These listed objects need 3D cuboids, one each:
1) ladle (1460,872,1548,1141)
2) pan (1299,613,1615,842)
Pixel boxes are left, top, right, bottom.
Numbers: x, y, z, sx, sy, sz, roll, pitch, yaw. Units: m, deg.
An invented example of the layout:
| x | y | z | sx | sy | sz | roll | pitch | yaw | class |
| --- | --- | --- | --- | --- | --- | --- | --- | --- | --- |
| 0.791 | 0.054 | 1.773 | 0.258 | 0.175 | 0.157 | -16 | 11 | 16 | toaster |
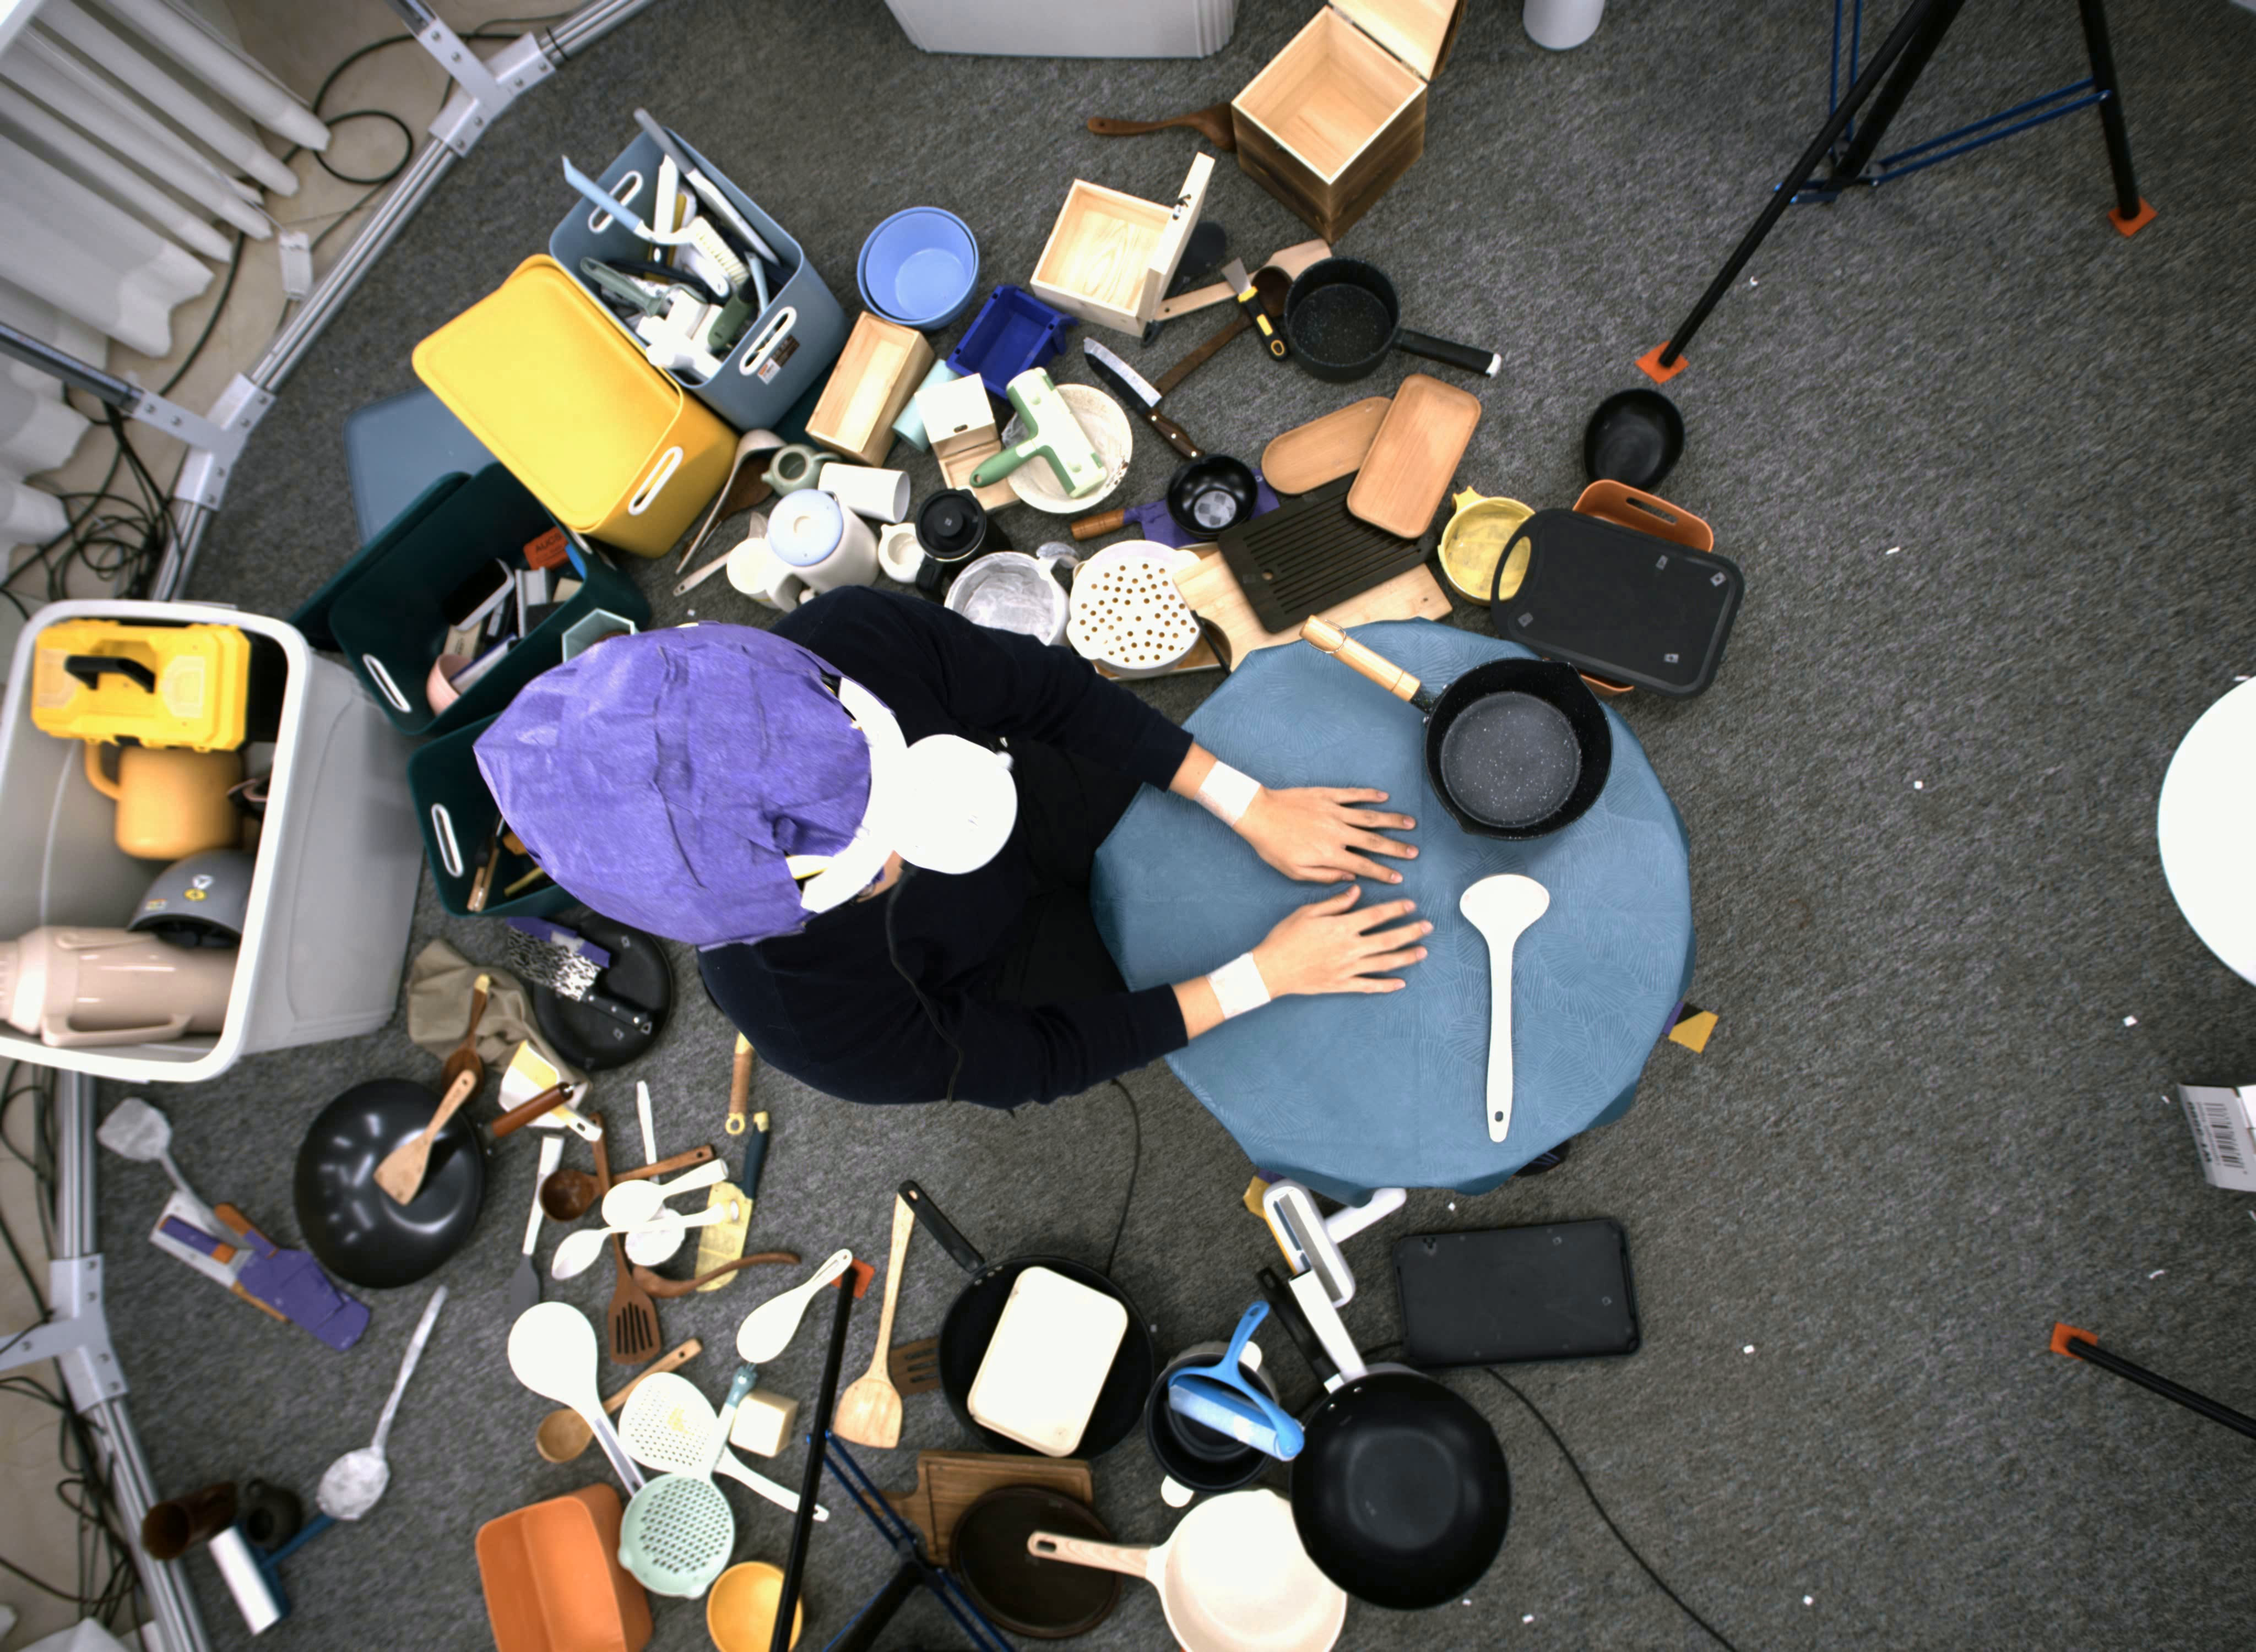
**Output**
| x | y | z | sx | sy | sz | roll | pitch | yaw | class |
| --- | --- | --- | --- | --- | --- | --- | --- | --- | --- |
| 0.383 | 0.182 | 1.398 | 0.089 | 0.069 | 0.273 | 0 | 87 | 0 | ladle |
| 0.326 | -0.116 | 1.405 | 0.342 | 0.108 | 0.208 | 30 | 93 | 9 | pan |
